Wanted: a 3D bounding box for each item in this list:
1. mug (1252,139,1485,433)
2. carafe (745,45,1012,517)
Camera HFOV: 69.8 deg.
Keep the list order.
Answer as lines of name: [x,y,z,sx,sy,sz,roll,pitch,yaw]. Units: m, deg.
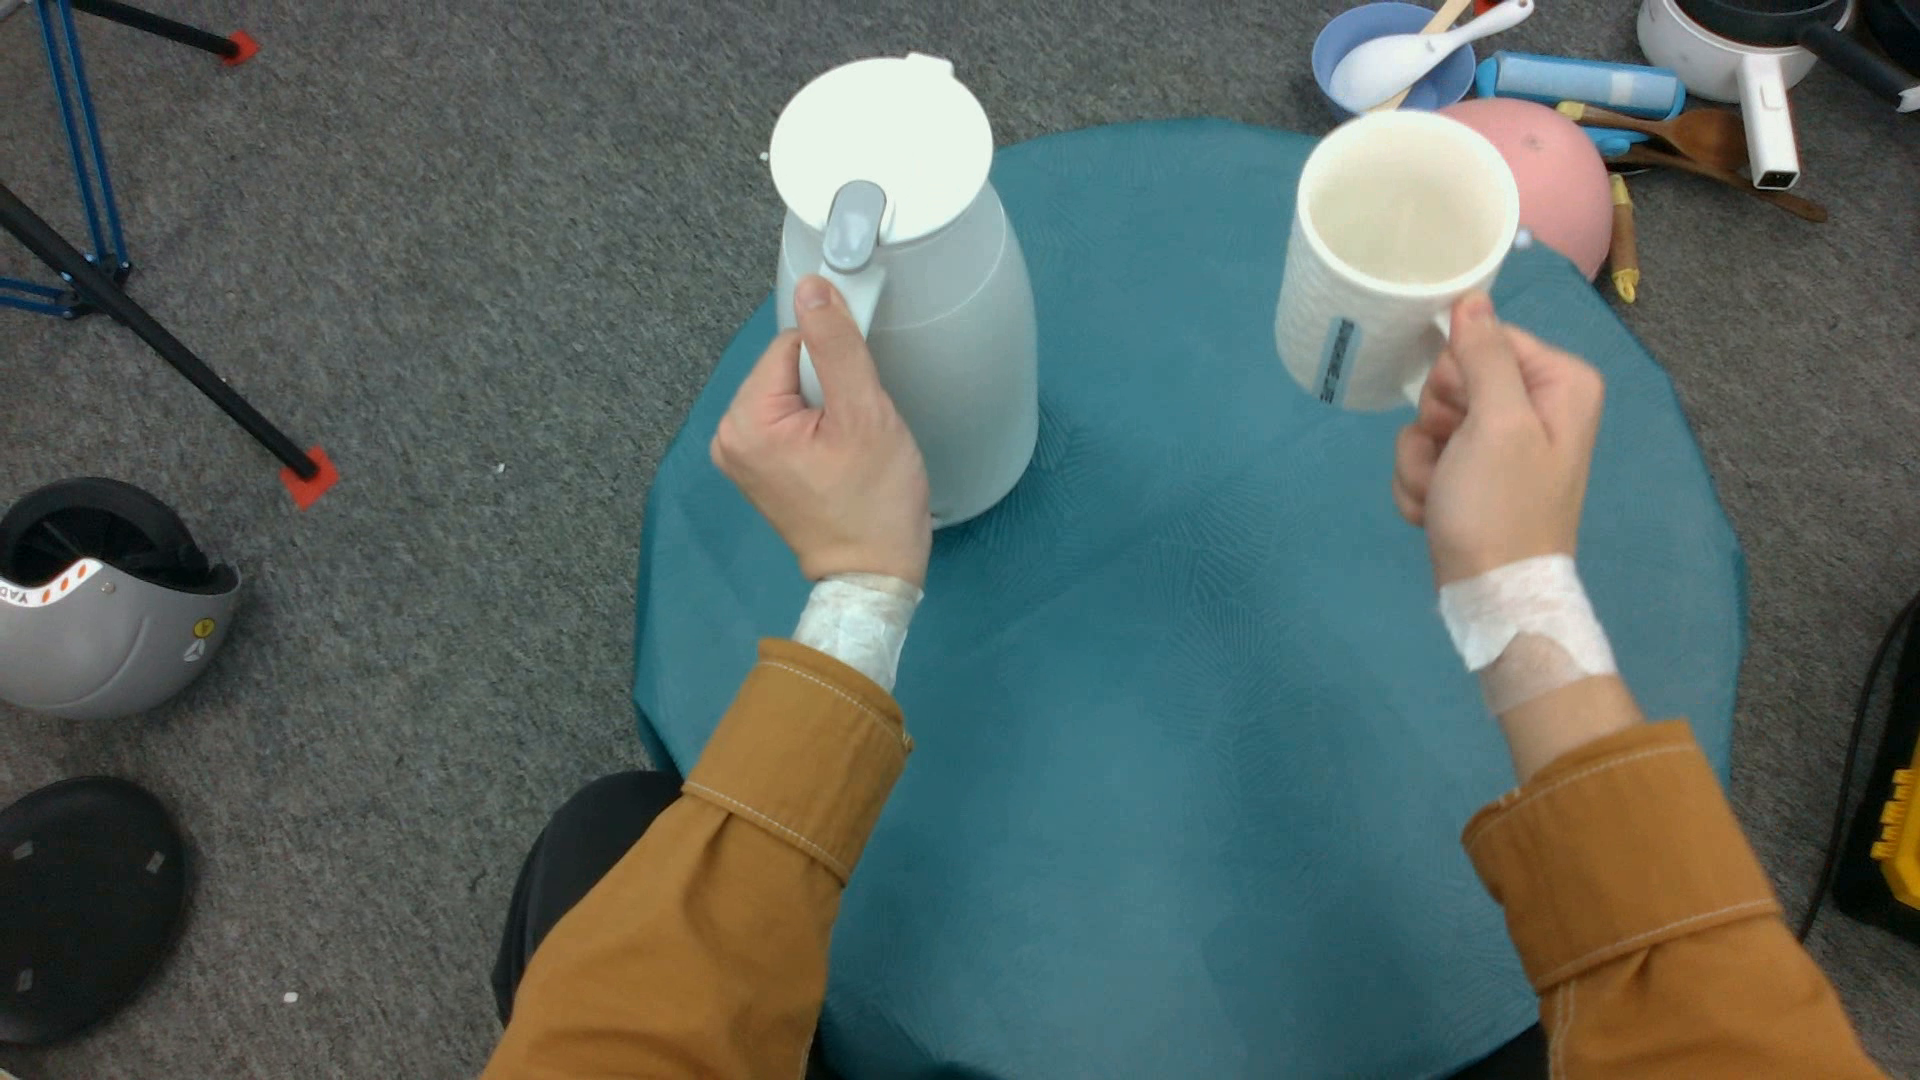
mug: [0.185,-0.100,0.614,0.085,0.101,0.118,-22,67,-5]
carafe: [-0.045,-0.103,0.665,0.132,0.248,0.168,15,68,7]
